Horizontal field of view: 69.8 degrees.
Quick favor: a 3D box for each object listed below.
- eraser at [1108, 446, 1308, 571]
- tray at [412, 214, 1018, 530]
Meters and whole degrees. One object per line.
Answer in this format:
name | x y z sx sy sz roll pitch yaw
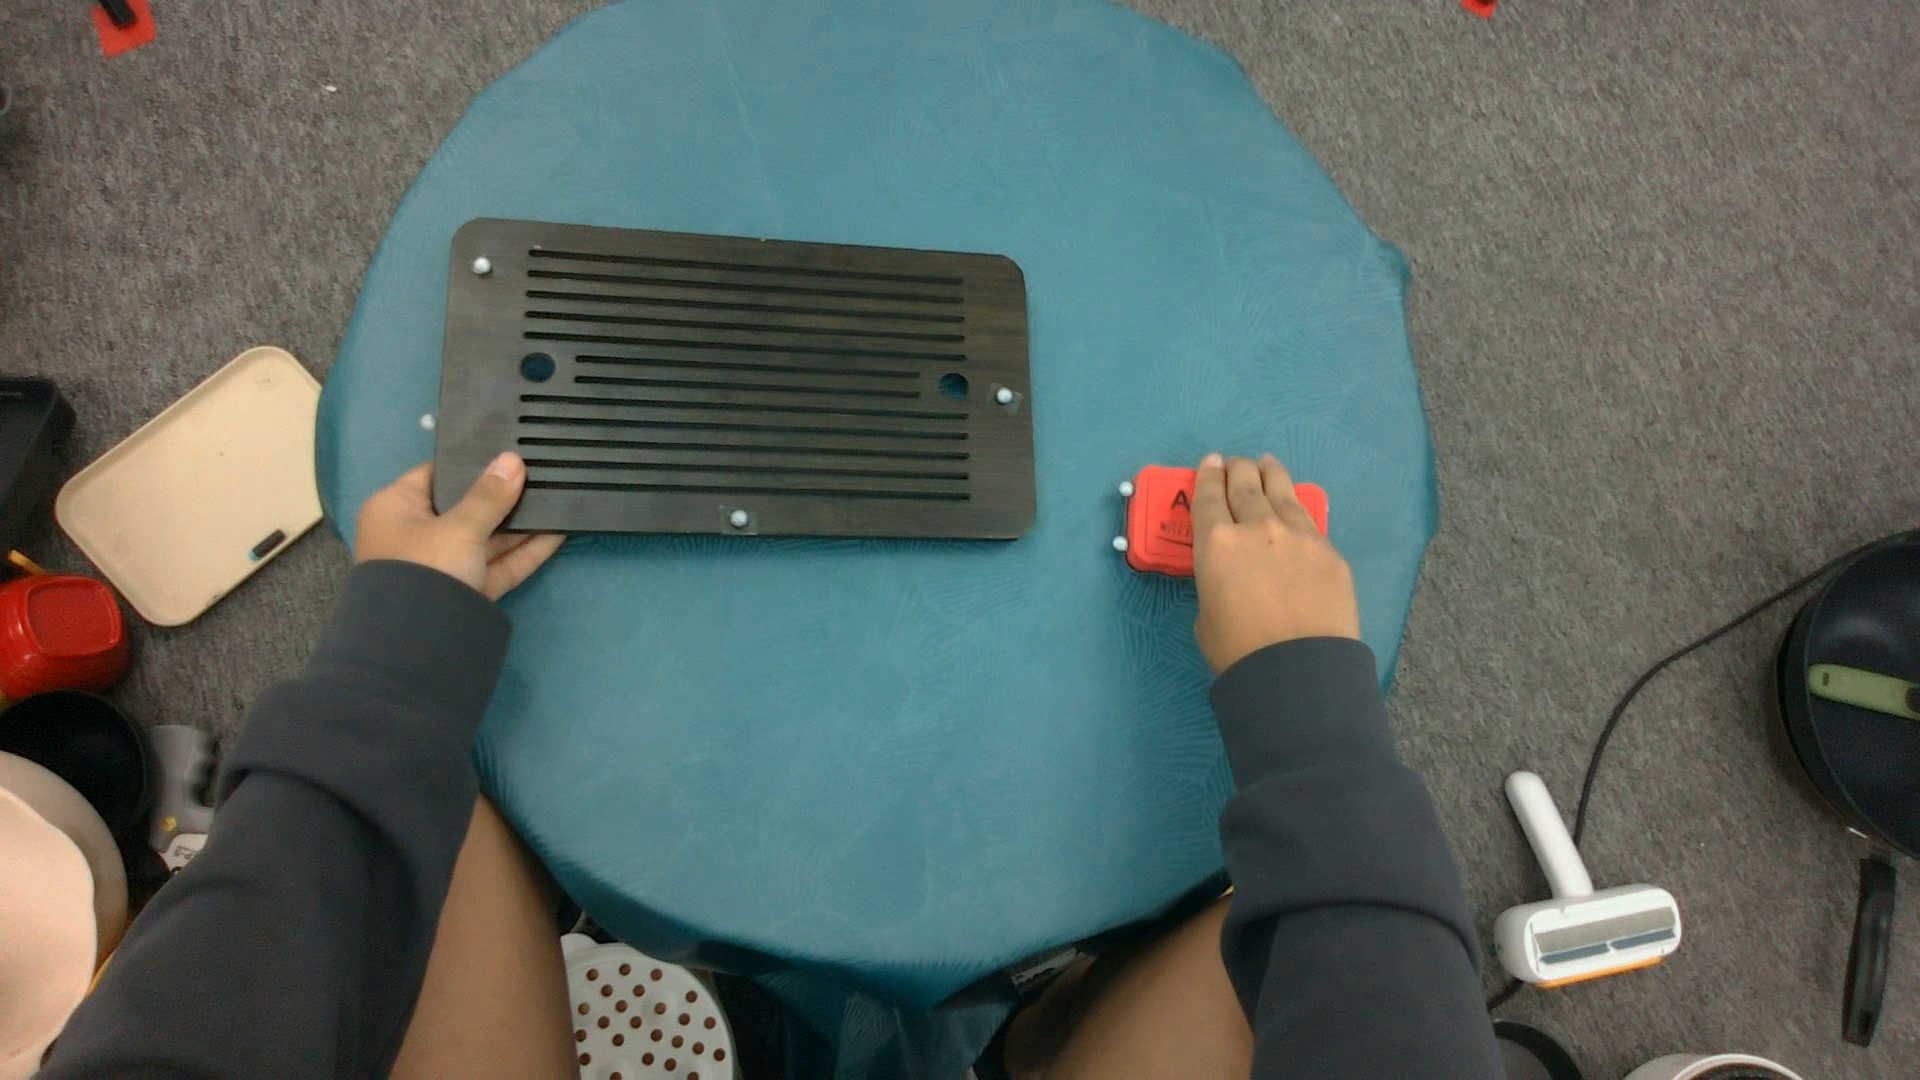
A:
eraser | 0.136 -0.017 0.753 0.108 0.023 0.059 6 73 -9
tray | -0.123 -0.086 0.728 0.306 0.018 0.170 1 72 -13
